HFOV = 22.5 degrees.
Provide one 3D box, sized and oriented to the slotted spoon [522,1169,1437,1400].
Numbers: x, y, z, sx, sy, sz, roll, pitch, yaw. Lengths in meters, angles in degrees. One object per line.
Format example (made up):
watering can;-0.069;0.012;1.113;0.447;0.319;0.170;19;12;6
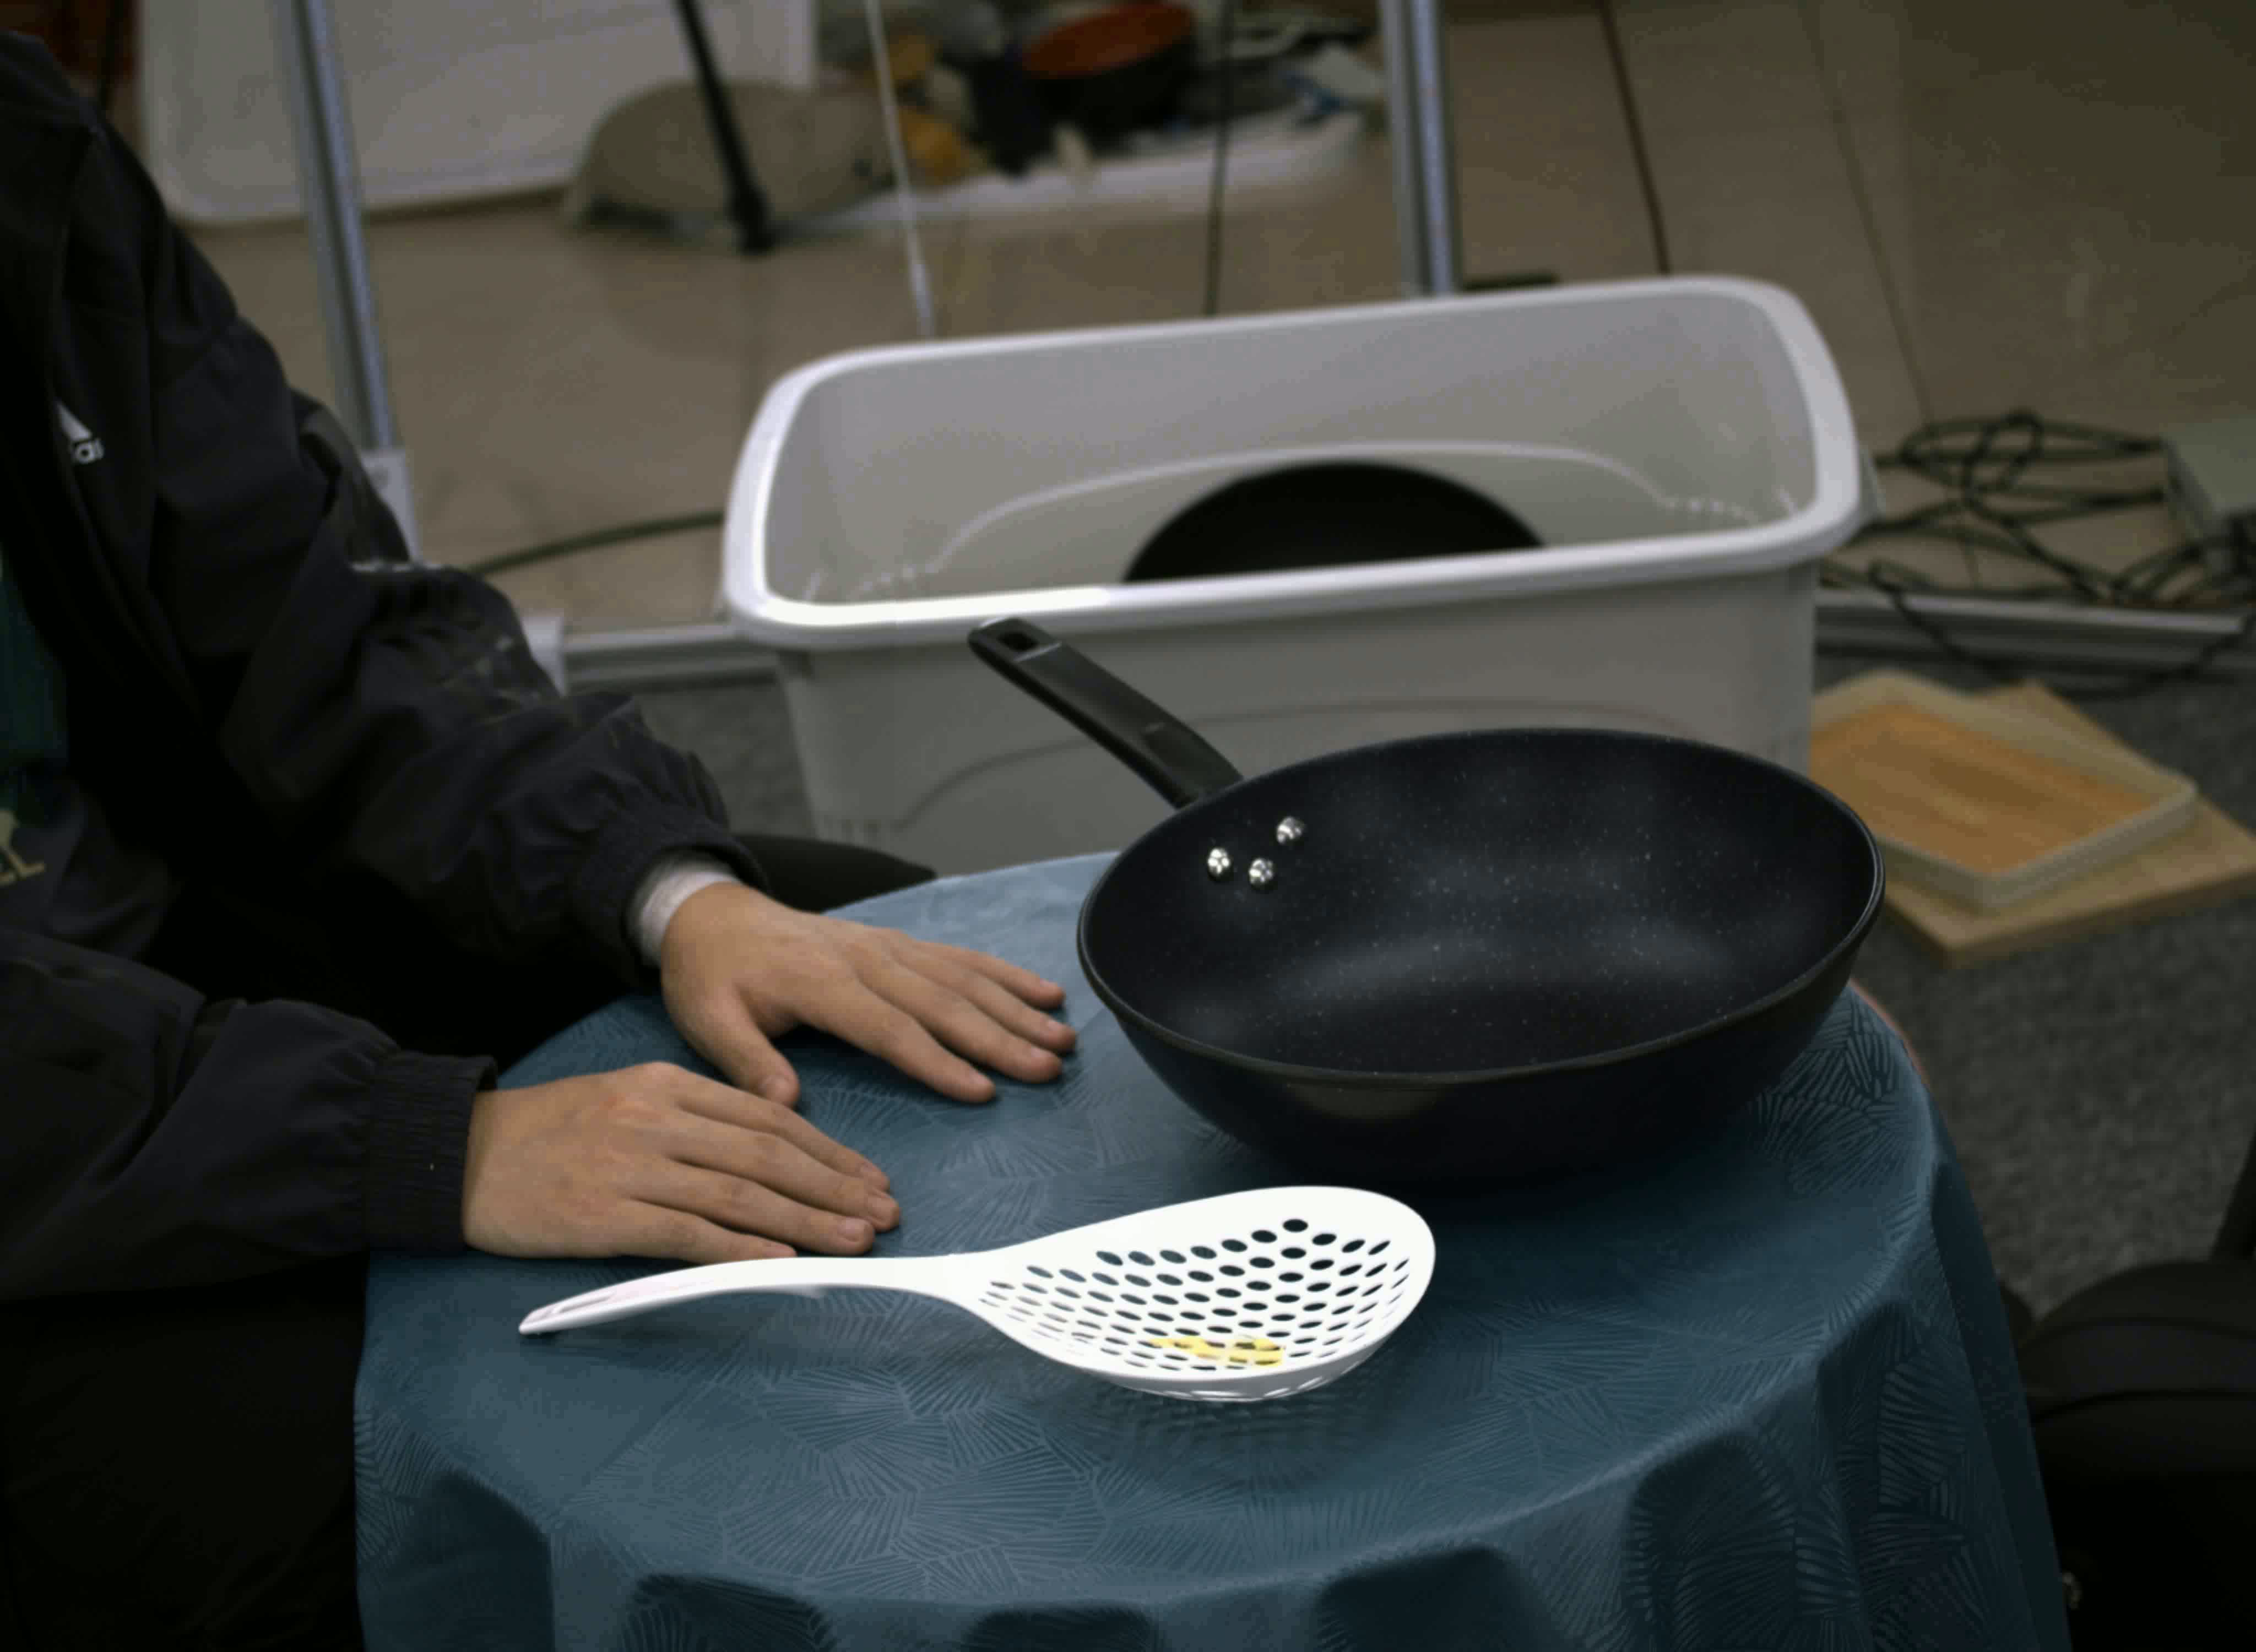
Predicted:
slotted spoon;-0.058;0.172;2.041;0.347;0.051;0.135;2;28;18

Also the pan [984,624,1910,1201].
pan;0.093;0.032;2.227;0.308;0.113;0.472;-21;29;-32
